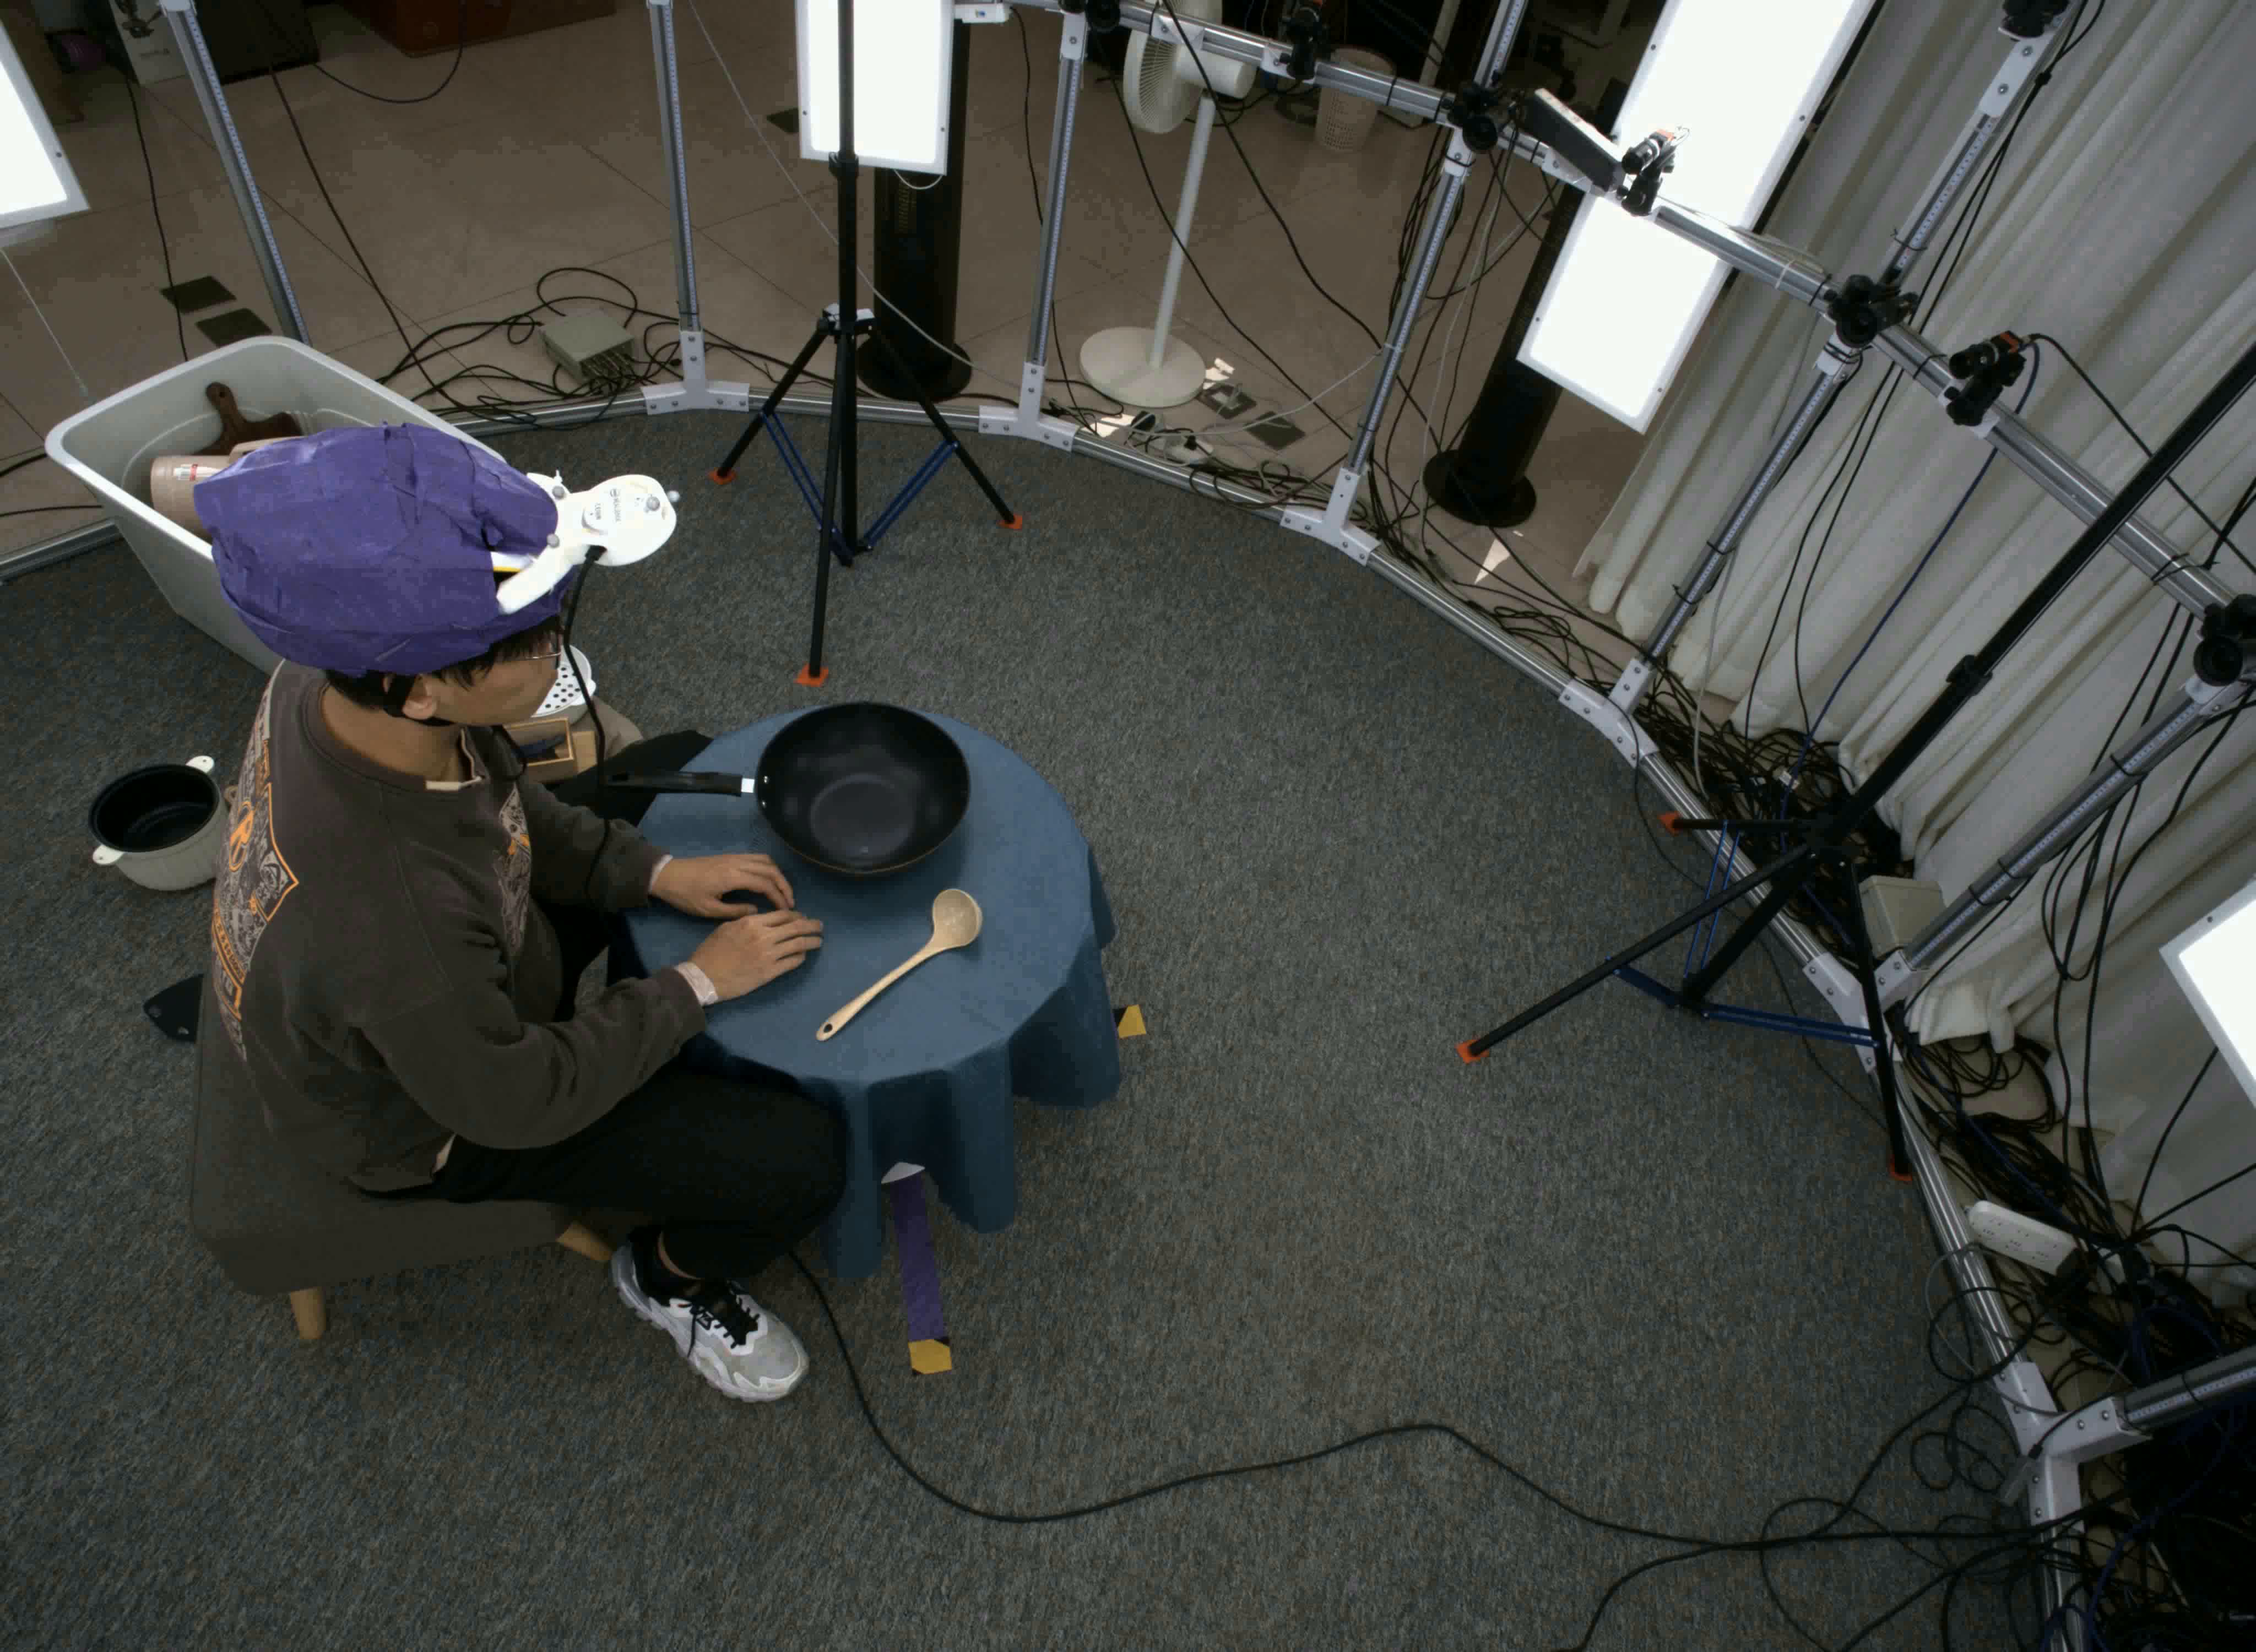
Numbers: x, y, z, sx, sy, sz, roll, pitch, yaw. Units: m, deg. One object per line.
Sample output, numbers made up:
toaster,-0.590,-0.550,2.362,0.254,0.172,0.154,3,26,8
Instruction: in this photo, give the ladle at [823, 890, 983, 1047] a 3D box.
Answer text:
ladle,-0.279,0.170,1.602,0.071,0.074,0.254,40,55,12

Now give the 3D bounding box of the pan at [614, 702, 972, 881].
pan,-0.438,-0.033,1.707,0.463,0.089,0.282,0,54,-12
